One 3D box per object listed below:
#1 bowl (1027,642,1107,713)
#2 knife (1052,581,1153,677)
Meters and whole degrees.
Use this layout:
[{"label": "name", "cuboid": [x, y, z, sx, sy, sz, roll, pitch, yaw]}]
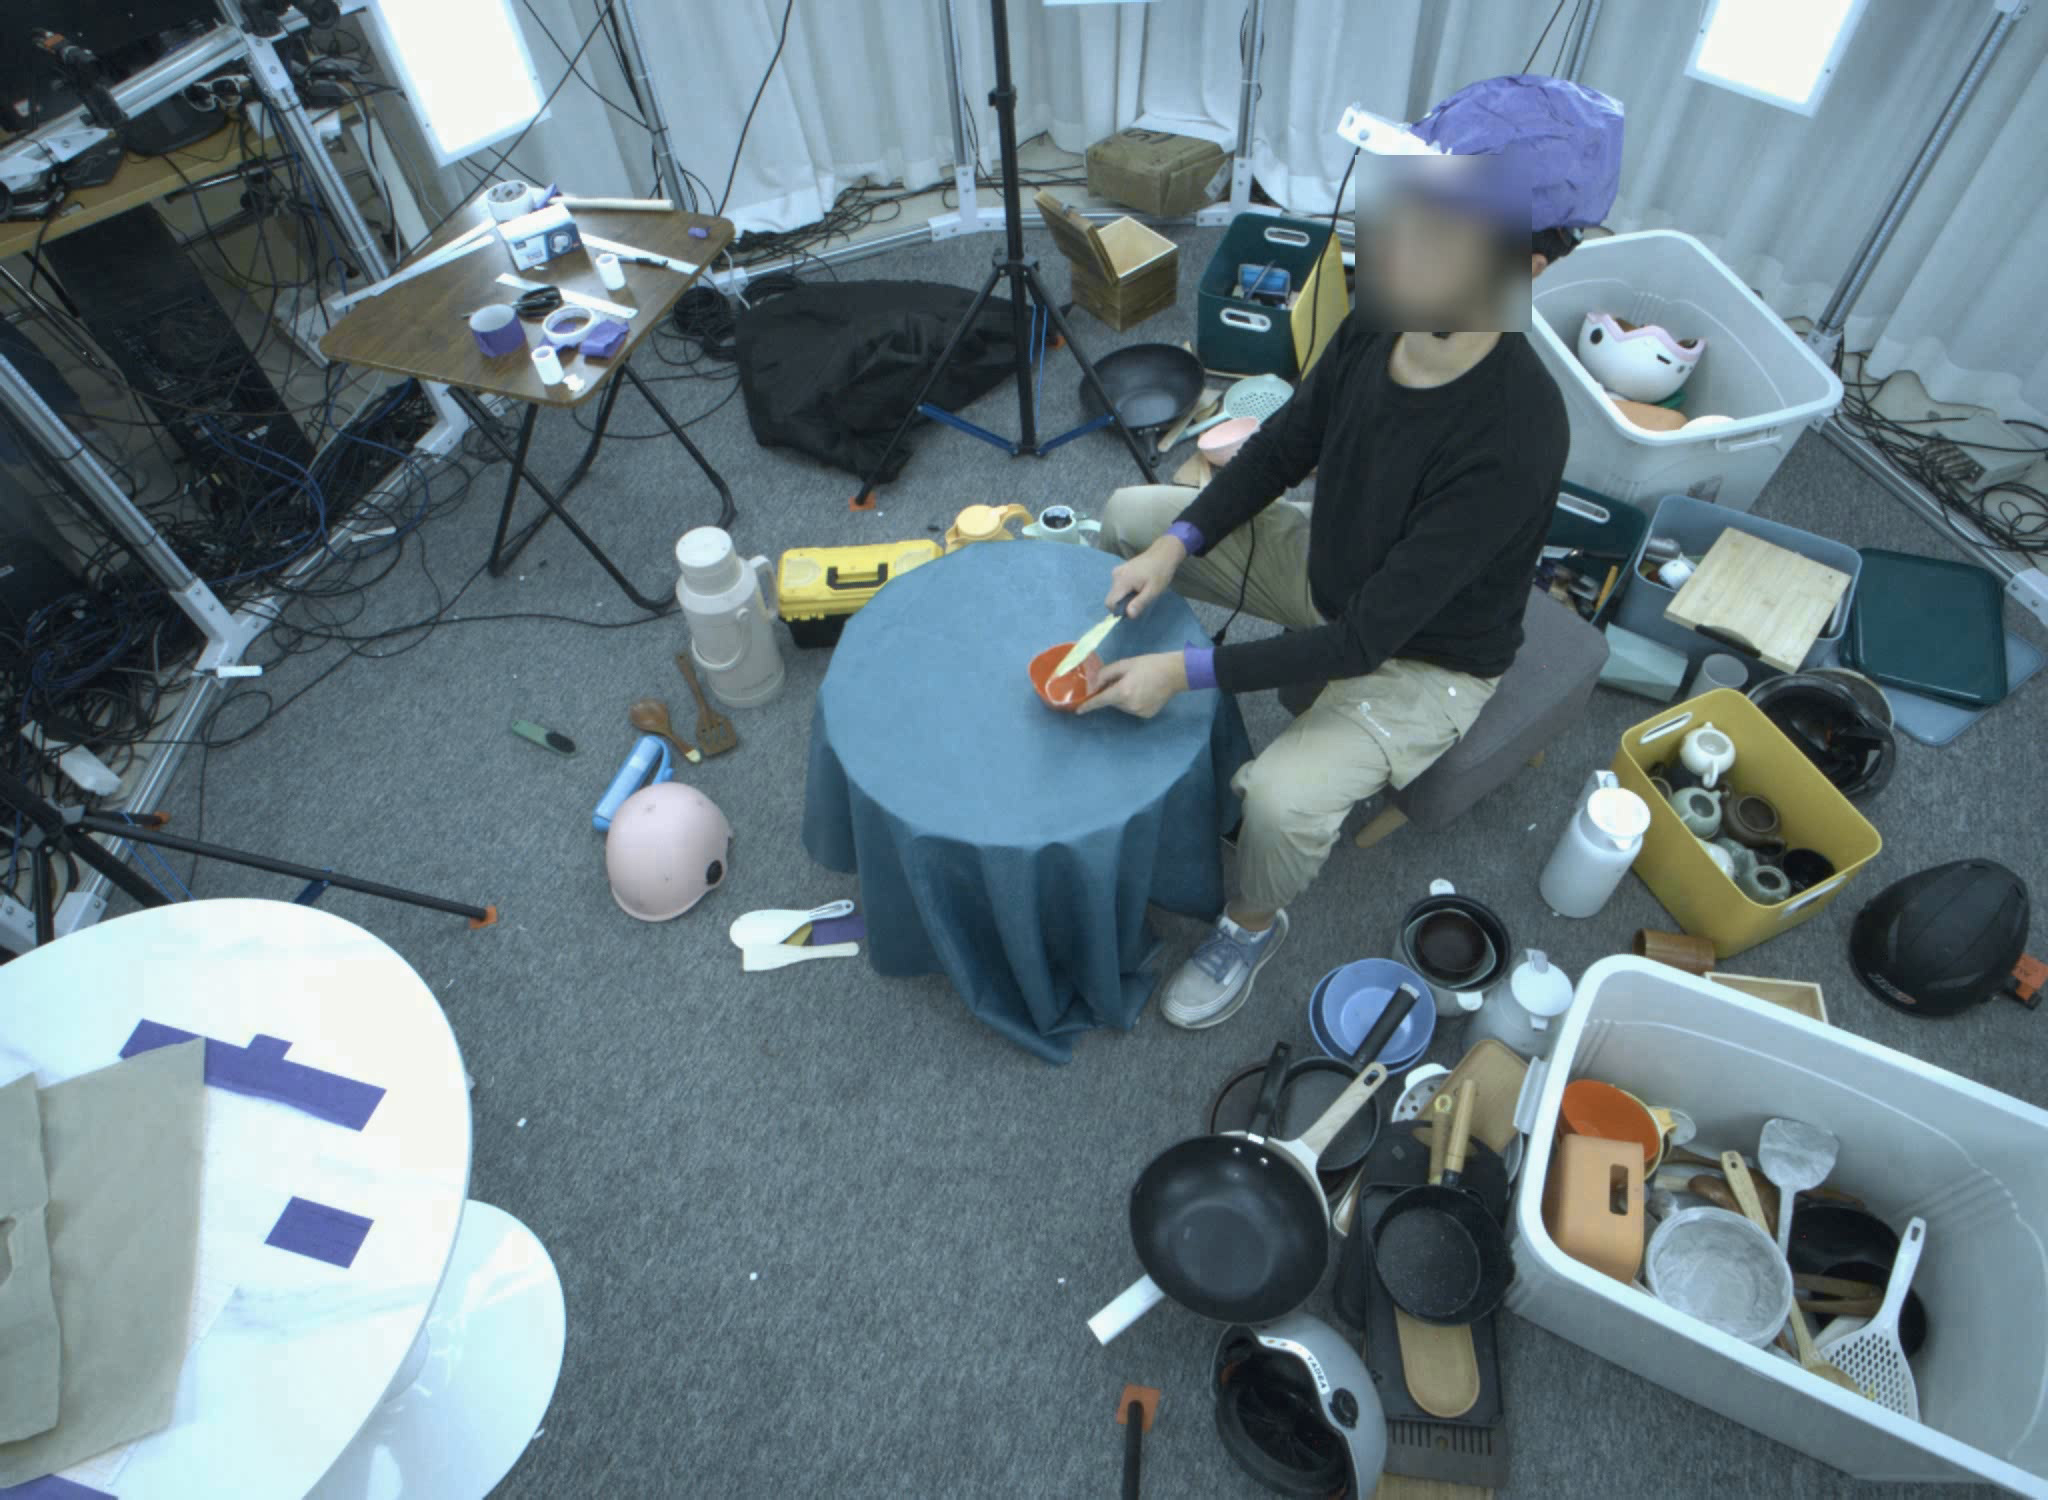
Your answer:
[{"label": "bowl", "cuboid": [0.065, -0.100, 1.820, 0.119, 0.052, 0.117, -2, 53, 3]}, {"label": "knife", "cuboid": [0.118, -0.179, 1.823, 0.079, 0.027, 0.291, -18, 20, 41]}]
